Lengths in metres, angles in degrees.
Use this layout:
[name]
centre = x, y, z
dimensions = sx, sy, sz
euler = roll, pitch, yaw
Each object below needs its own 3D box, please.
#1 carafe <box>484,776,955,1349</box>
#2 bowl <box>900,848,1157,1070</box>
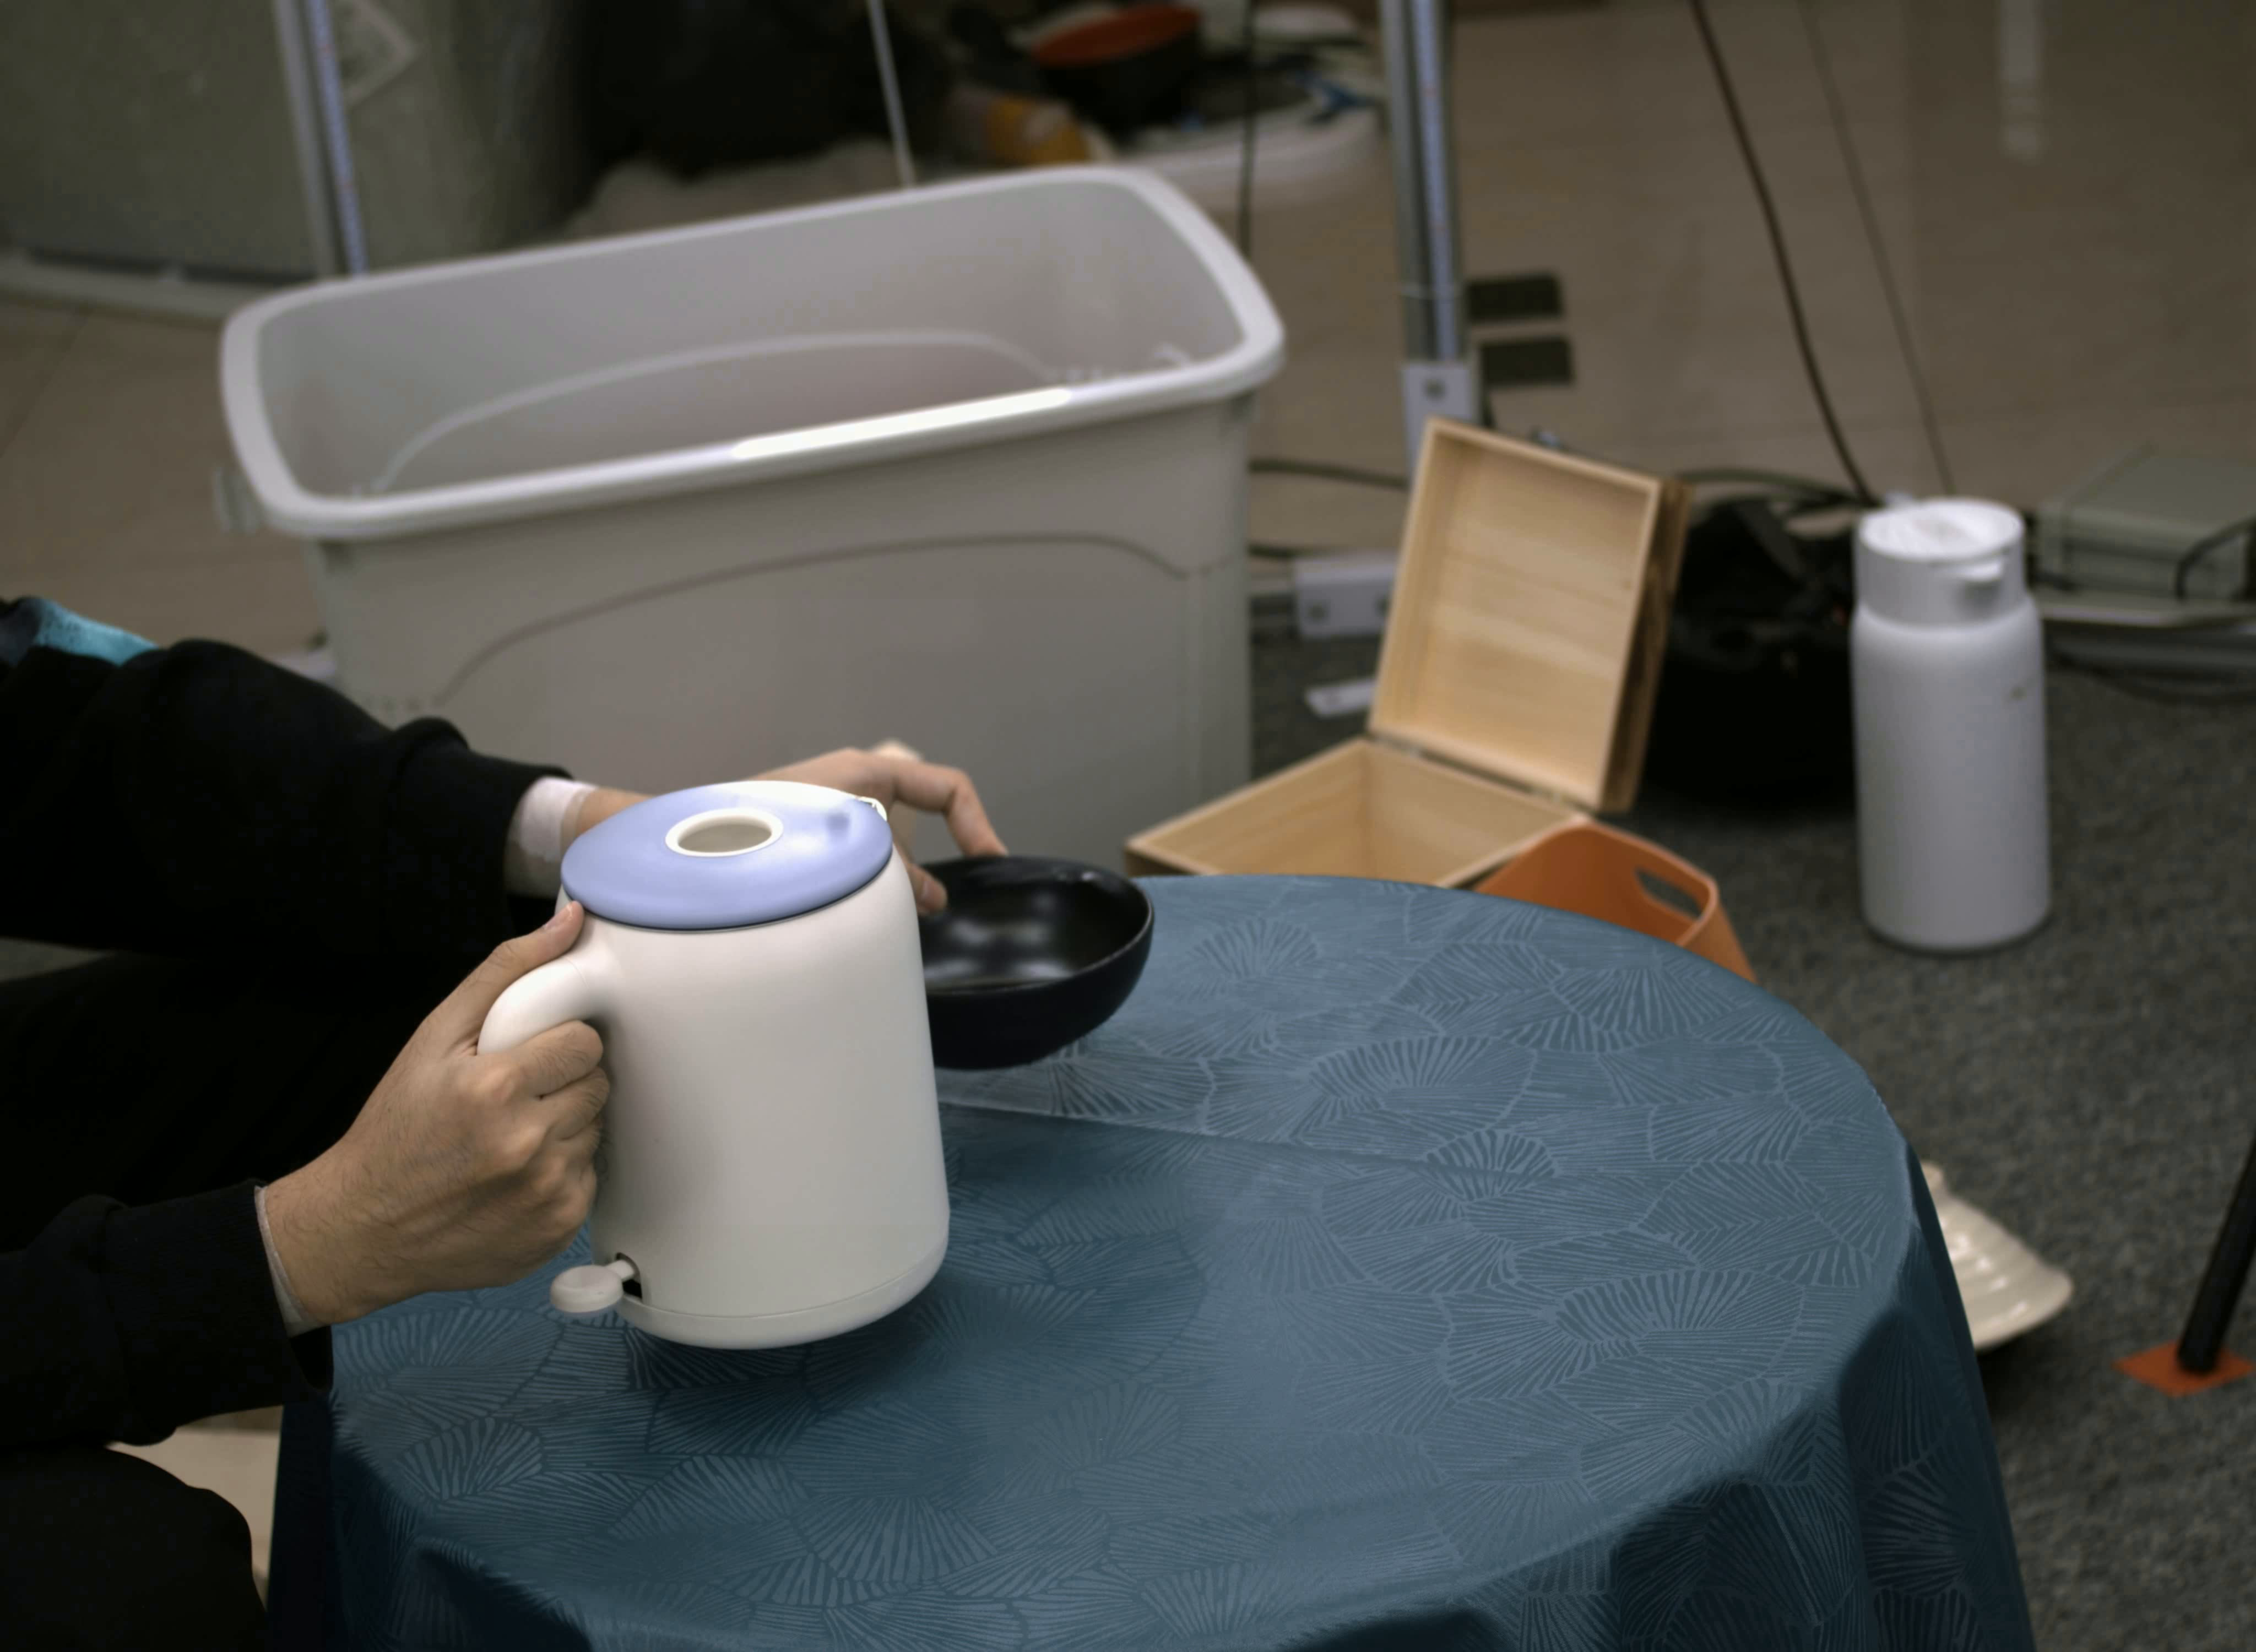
[carafe]
centre = -0.152, 0.093, 2.019
dimensions = 0.189, 0.185, 0.131
euler = -28, 32, -36
[bowl]
centre = -0.056, 0.058, 2.211
dimensions = 0.140, 0.050, 0.138
euler = -6, 23, 3
